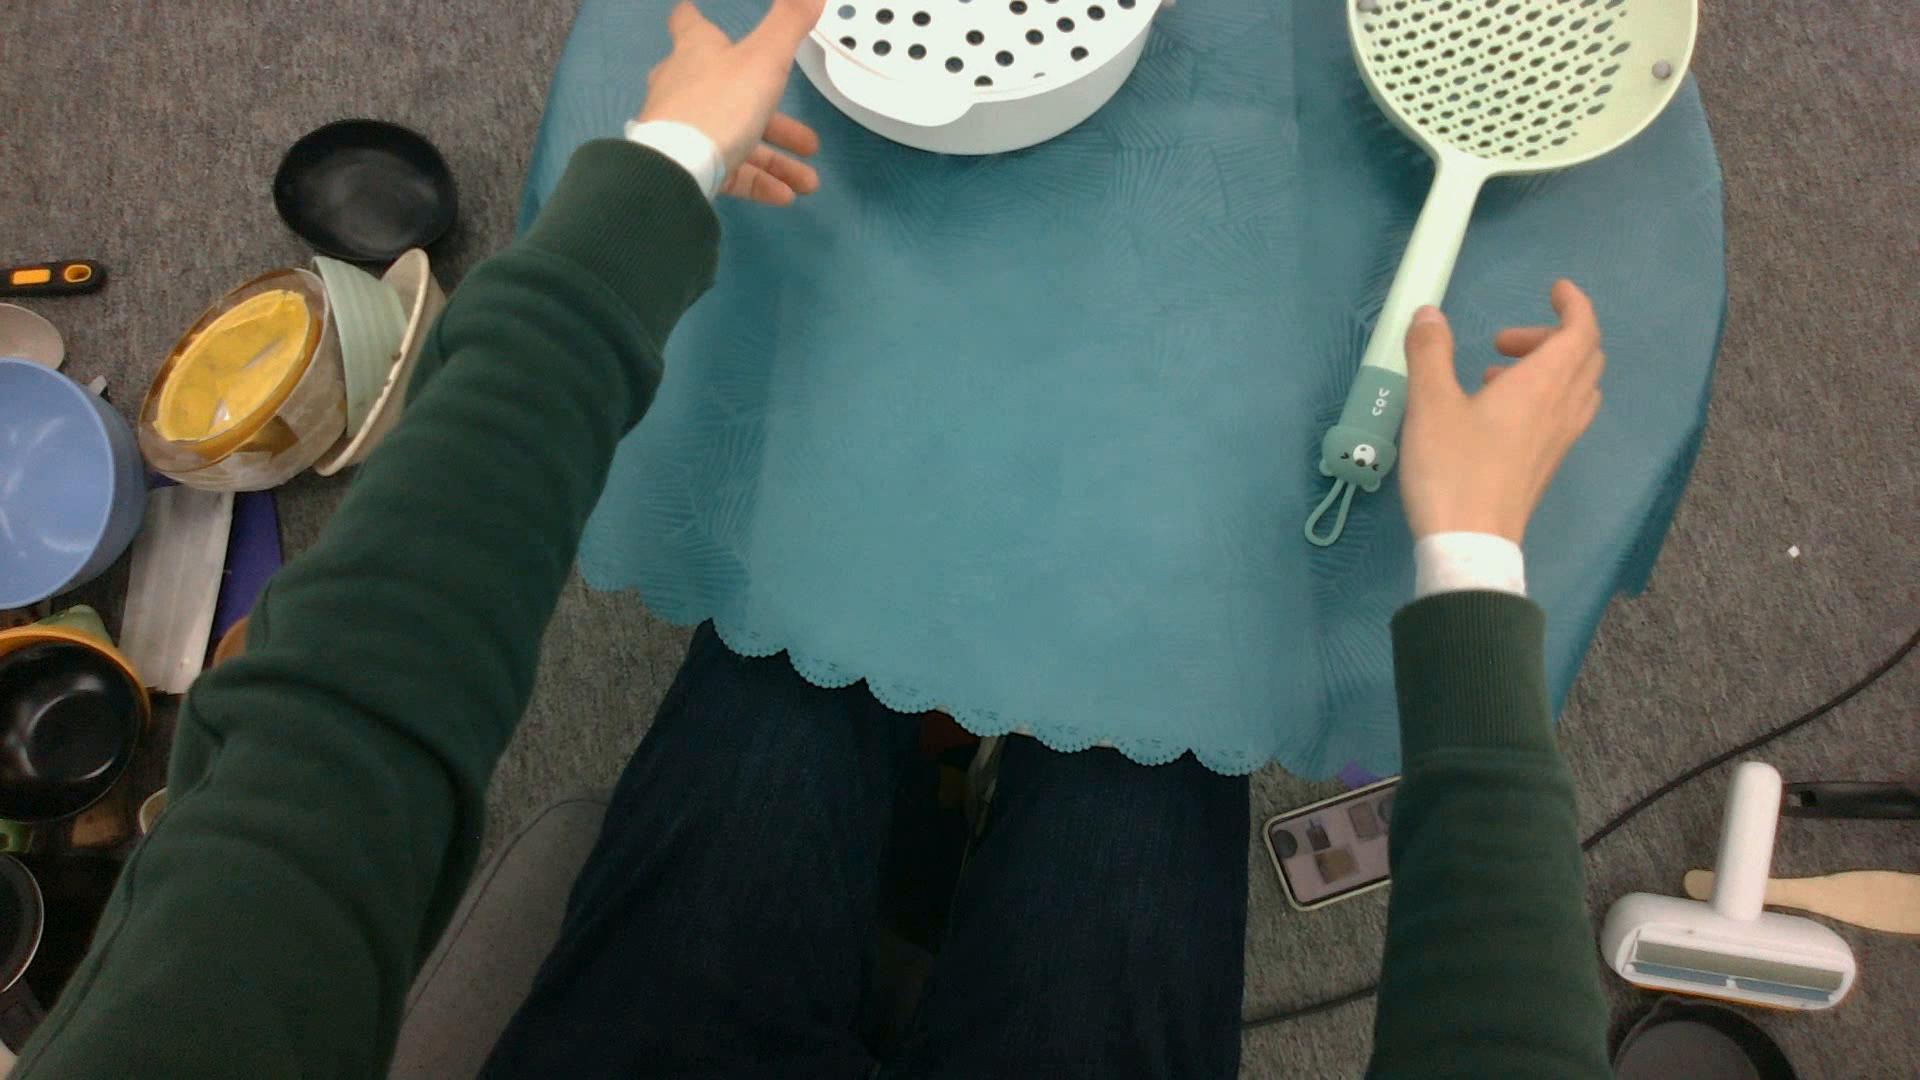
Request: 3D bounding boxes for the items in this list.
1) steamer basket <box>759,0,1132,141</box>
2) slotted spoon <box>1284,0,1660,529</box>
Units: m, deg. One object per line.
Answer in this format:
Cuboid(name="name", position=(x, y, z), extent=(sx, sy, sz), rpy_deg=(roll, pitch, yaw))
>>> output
Cuboid(name="steamer basket", position=(-0.008, -0.298, 0.693), extent=(0.202, 0.069, 0.231), rpy_deg=(18, 75, 3))
Cuboid(name="slotted spoon", position=(0.225, -0.176, 0.671), extent=(0.169, 0.075, 0.360), rpy_deg=(20, 74, 3))
